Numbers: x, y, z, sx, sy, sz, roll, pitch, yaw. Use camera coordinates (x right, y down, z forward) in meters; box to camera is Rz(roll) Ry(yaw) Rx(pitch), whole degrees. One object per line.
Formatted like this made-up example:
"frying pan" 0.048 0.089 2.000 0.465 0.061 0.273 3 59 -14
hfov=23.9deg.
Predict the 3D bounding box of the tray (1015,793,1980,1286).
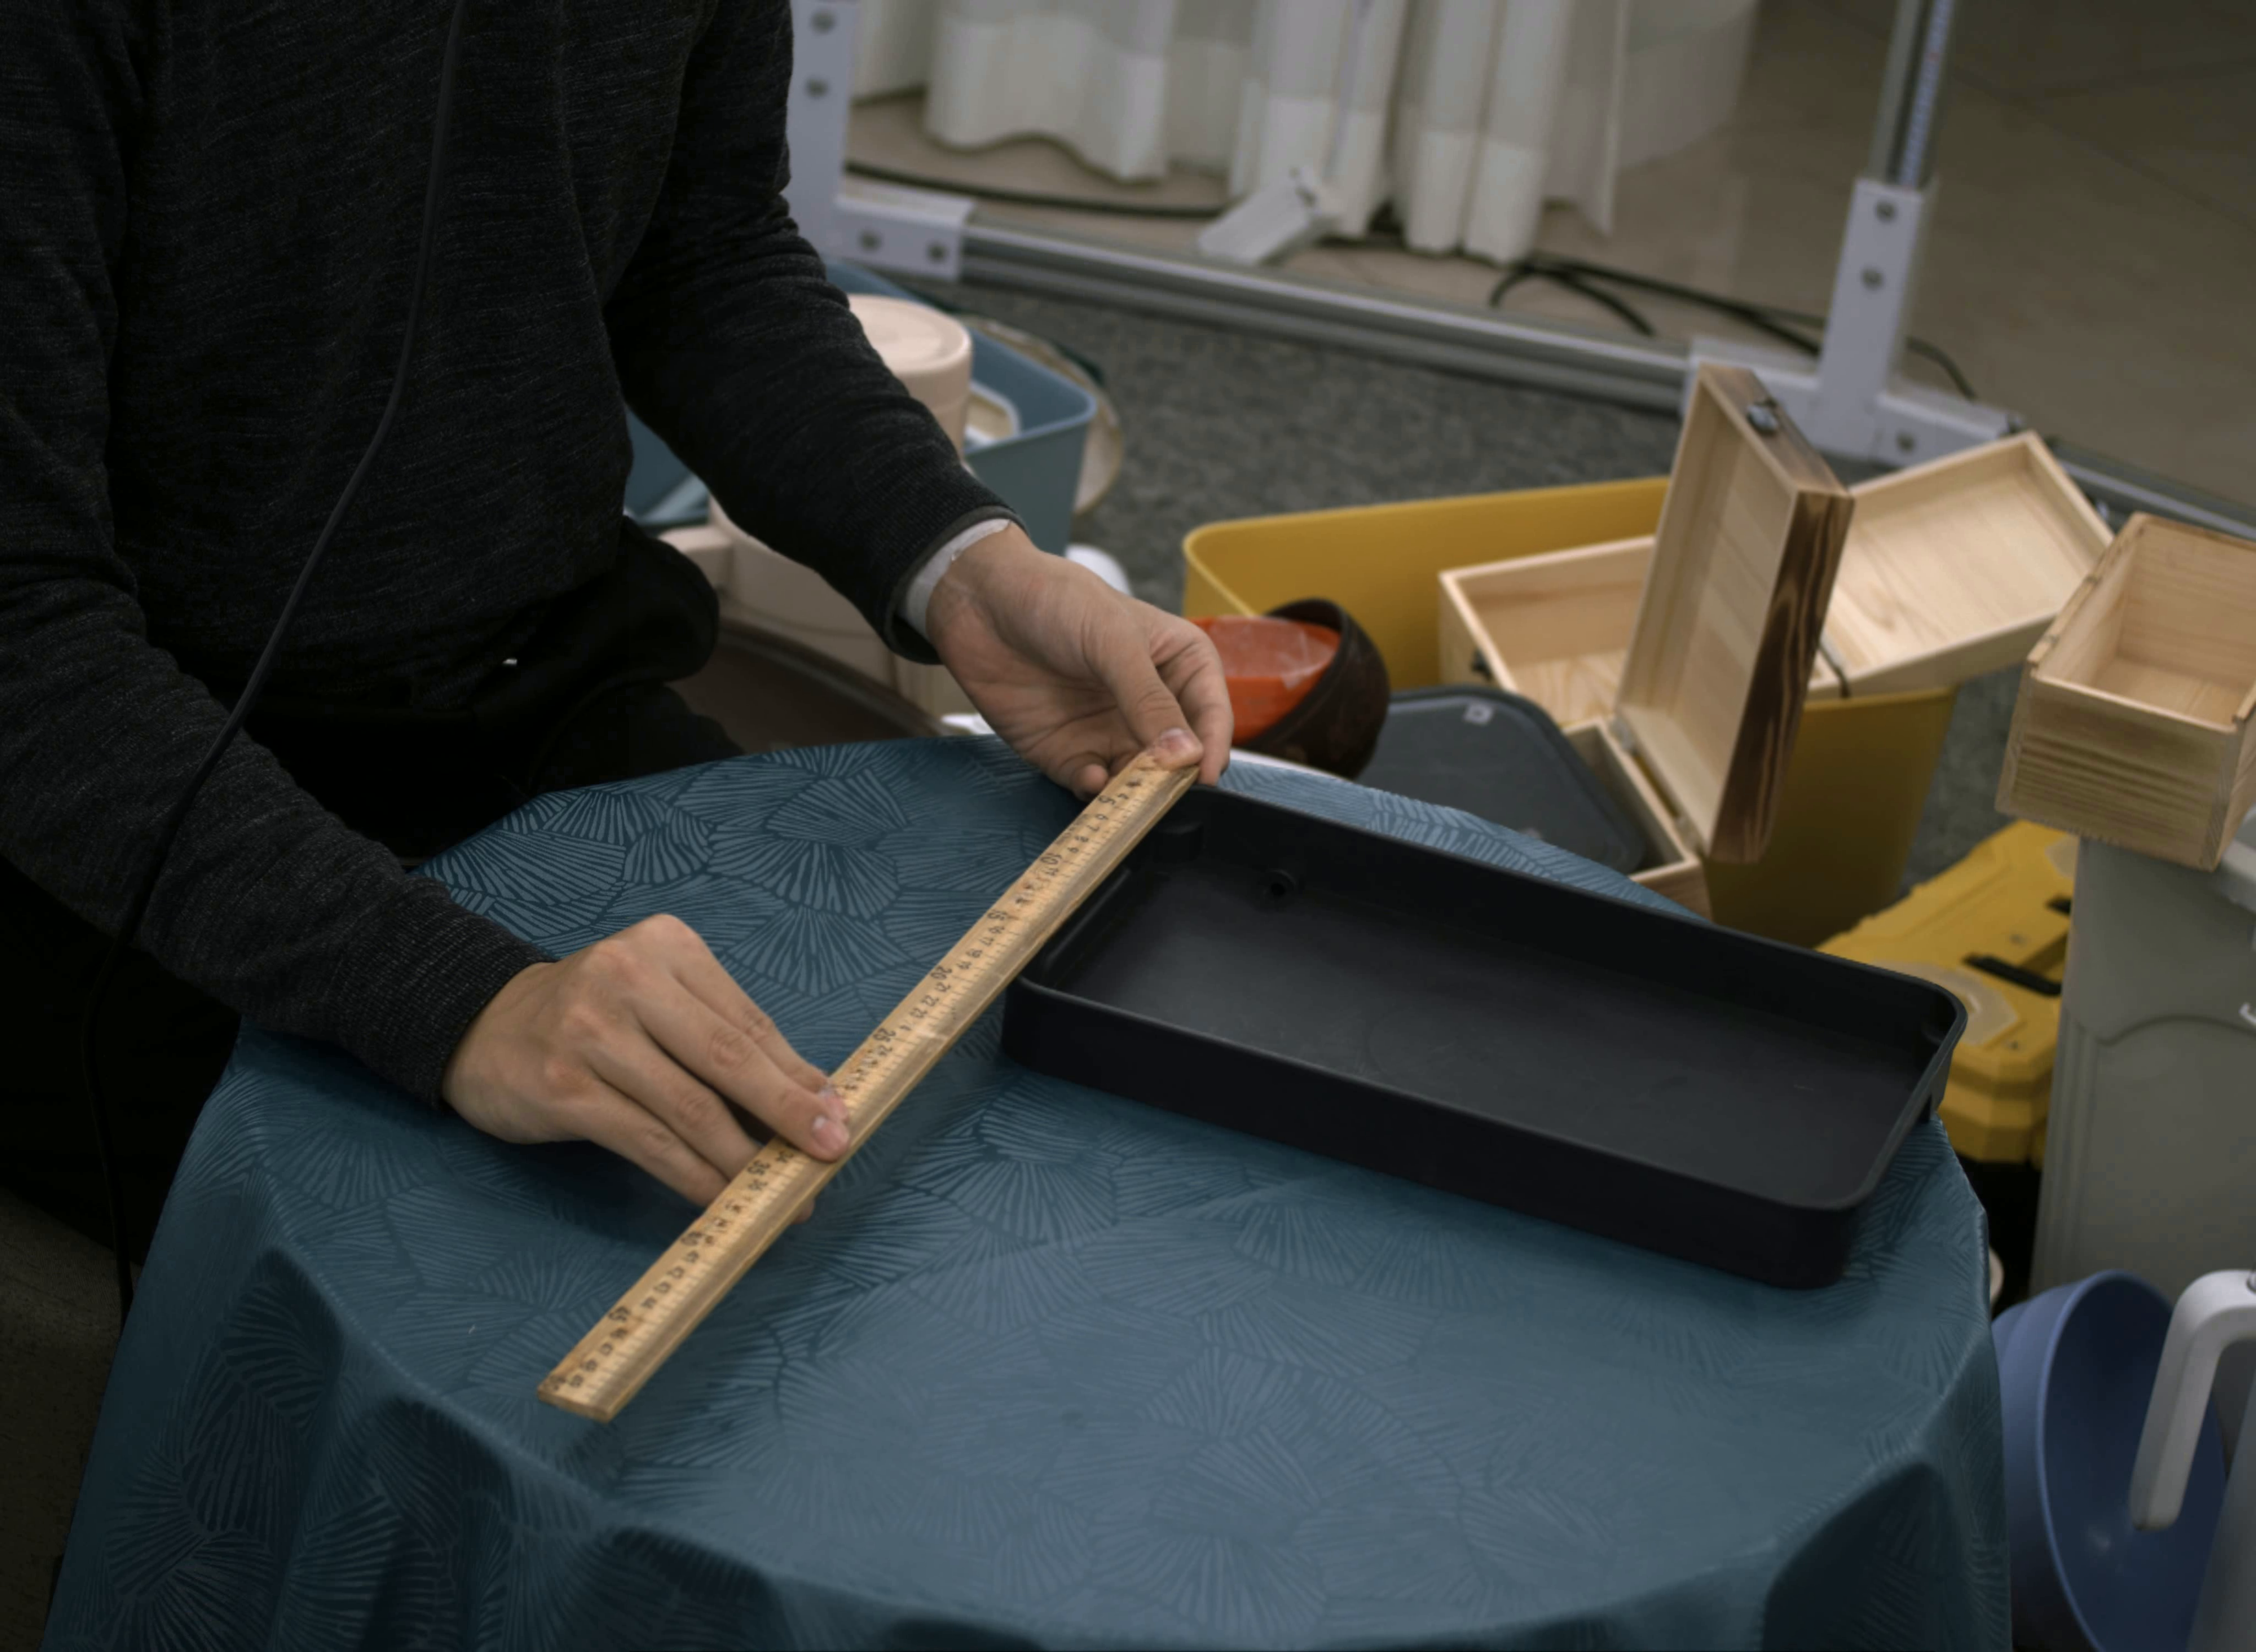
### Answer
"tray" 0.131 0.072 1.893 0.318 0.037 0.184 14 27 16

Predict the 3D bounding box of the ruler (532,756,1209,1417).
"ruler" -0.075 0.075 1.802 0.027 0.006 0.500 13 28 18
